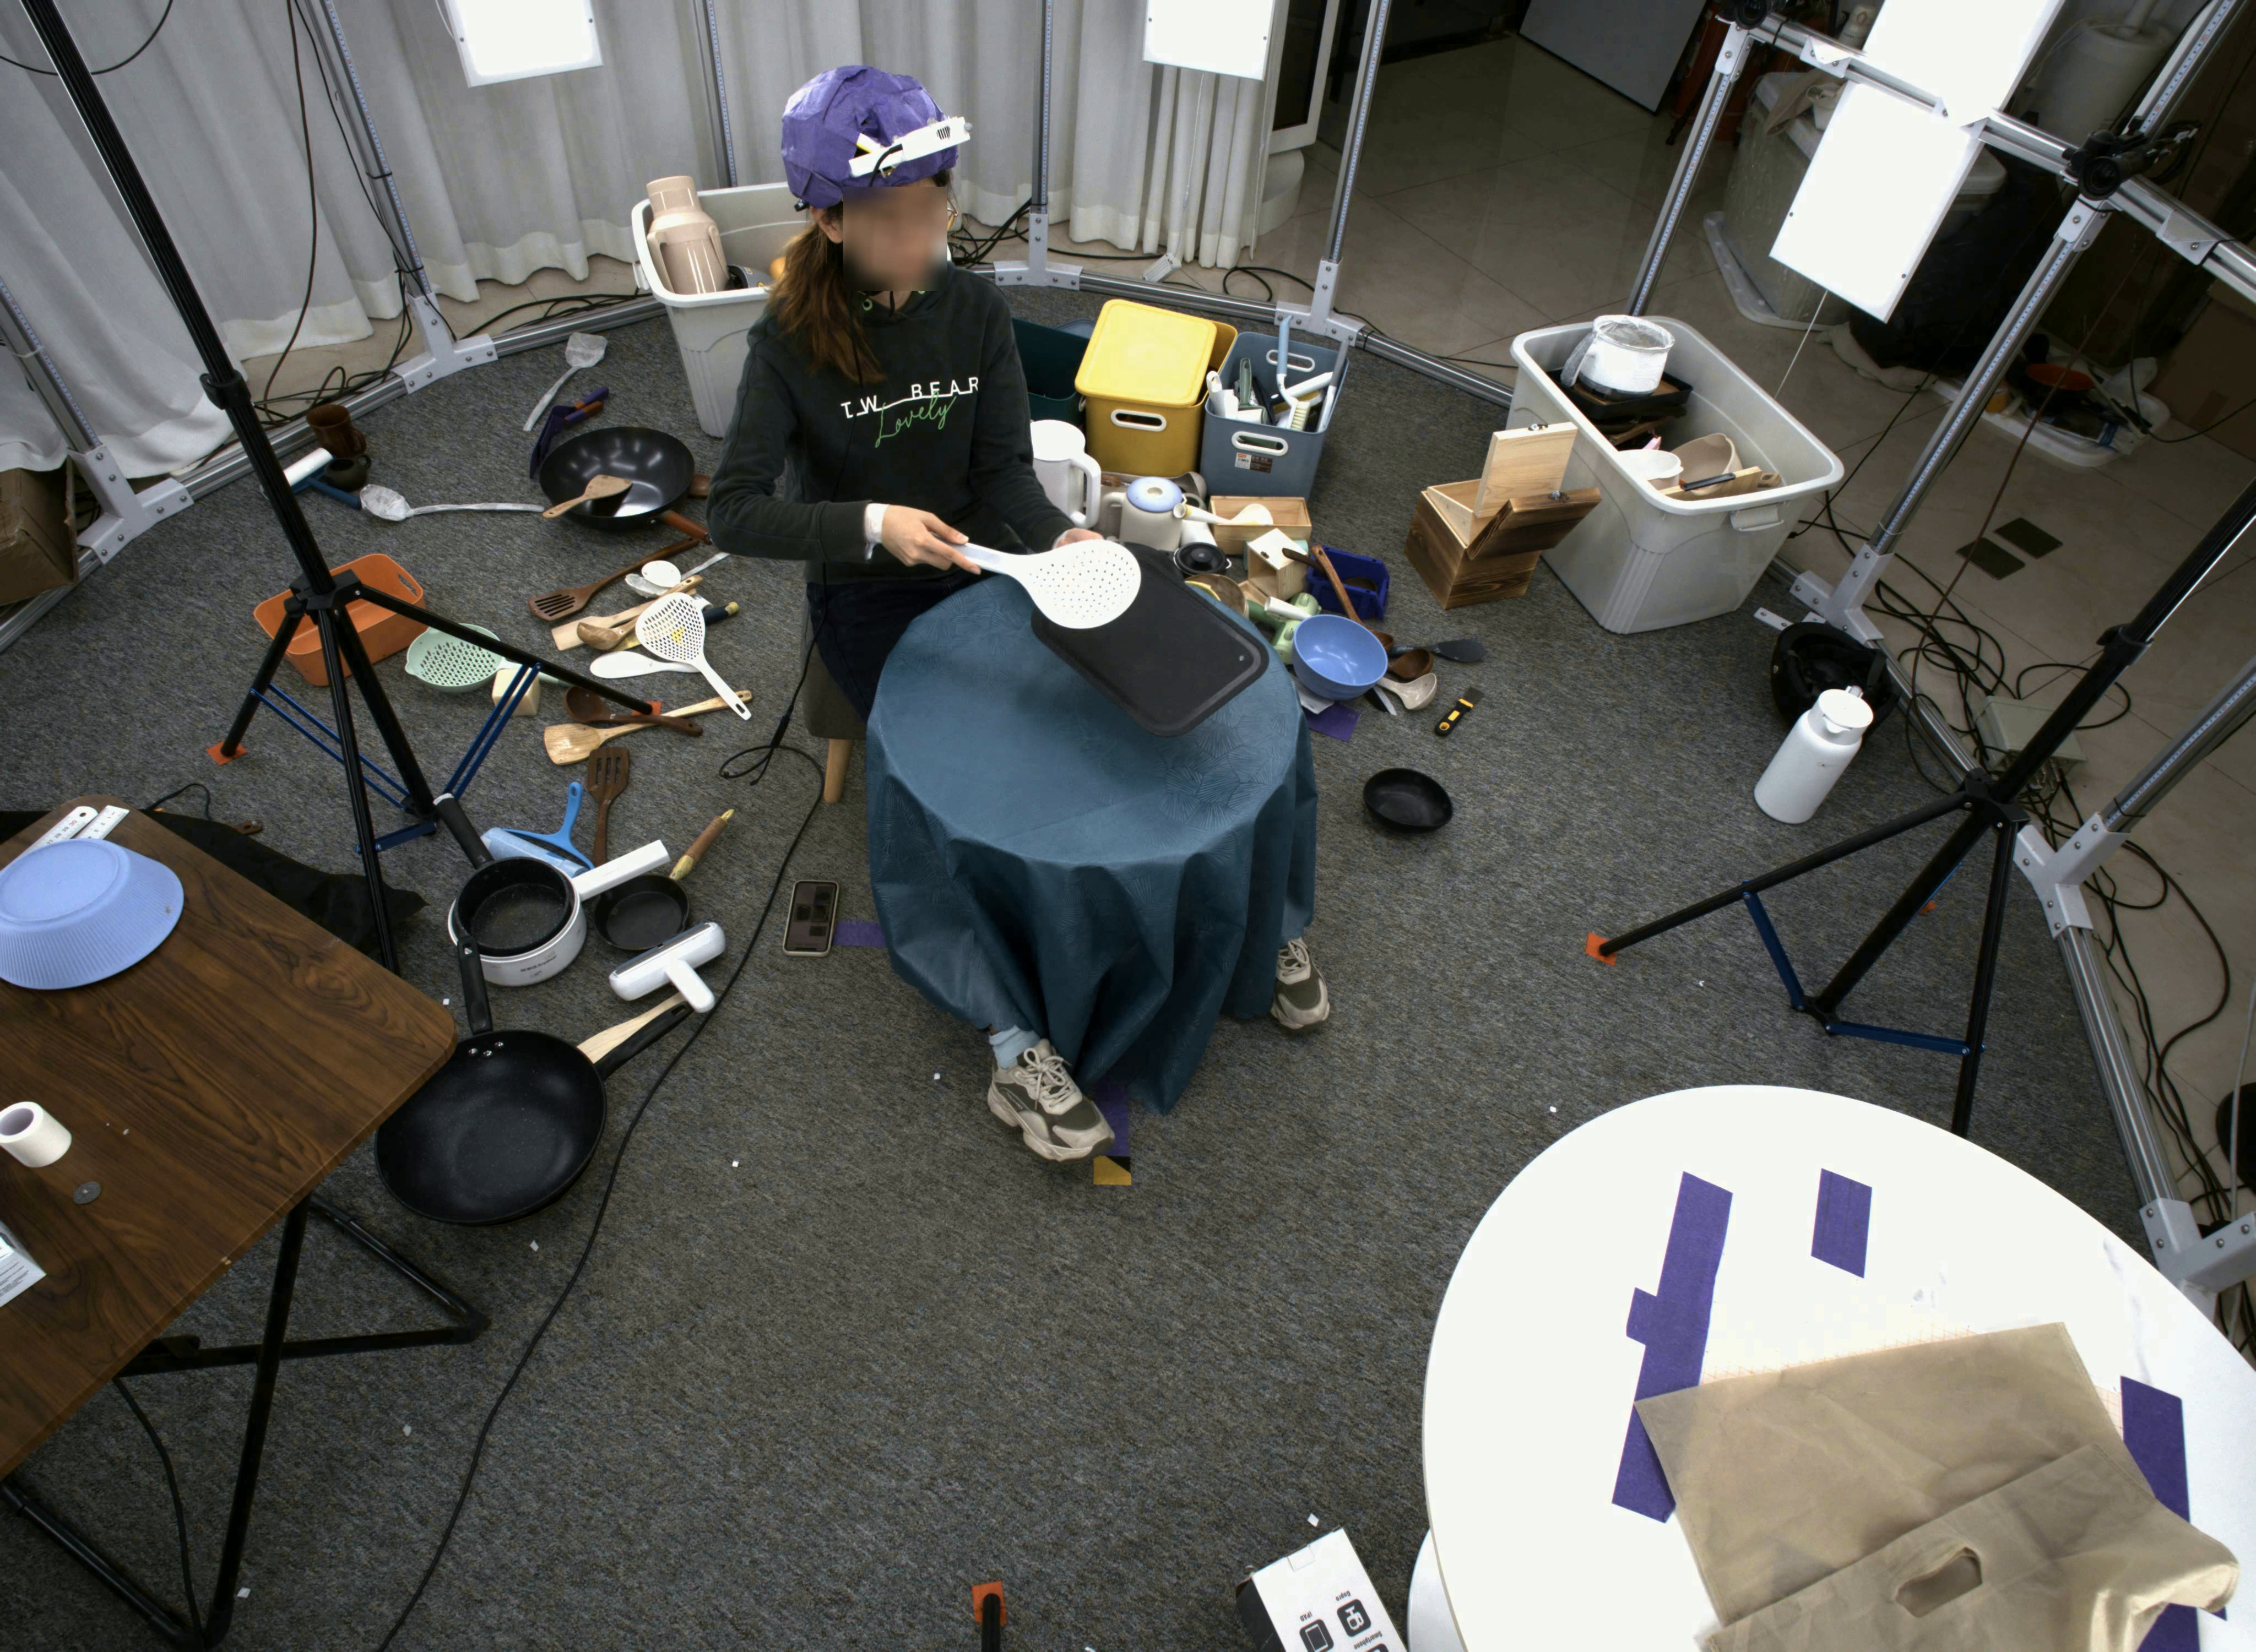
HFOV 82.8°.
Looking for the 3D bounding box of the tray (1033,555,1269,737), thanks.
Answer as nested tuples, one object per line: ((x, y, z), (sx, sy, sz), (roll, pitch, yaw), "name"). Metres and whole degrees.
((0.022, -0.256, 1.752), (0.212, 0.009, 0.331), (-37, 59, -18), "tray")

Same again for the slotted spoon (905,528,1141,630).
((-0.144, -0.341, 1.706), (0.352, 0.045, 0.138), (20, 68, 17), "slotted spoon")
